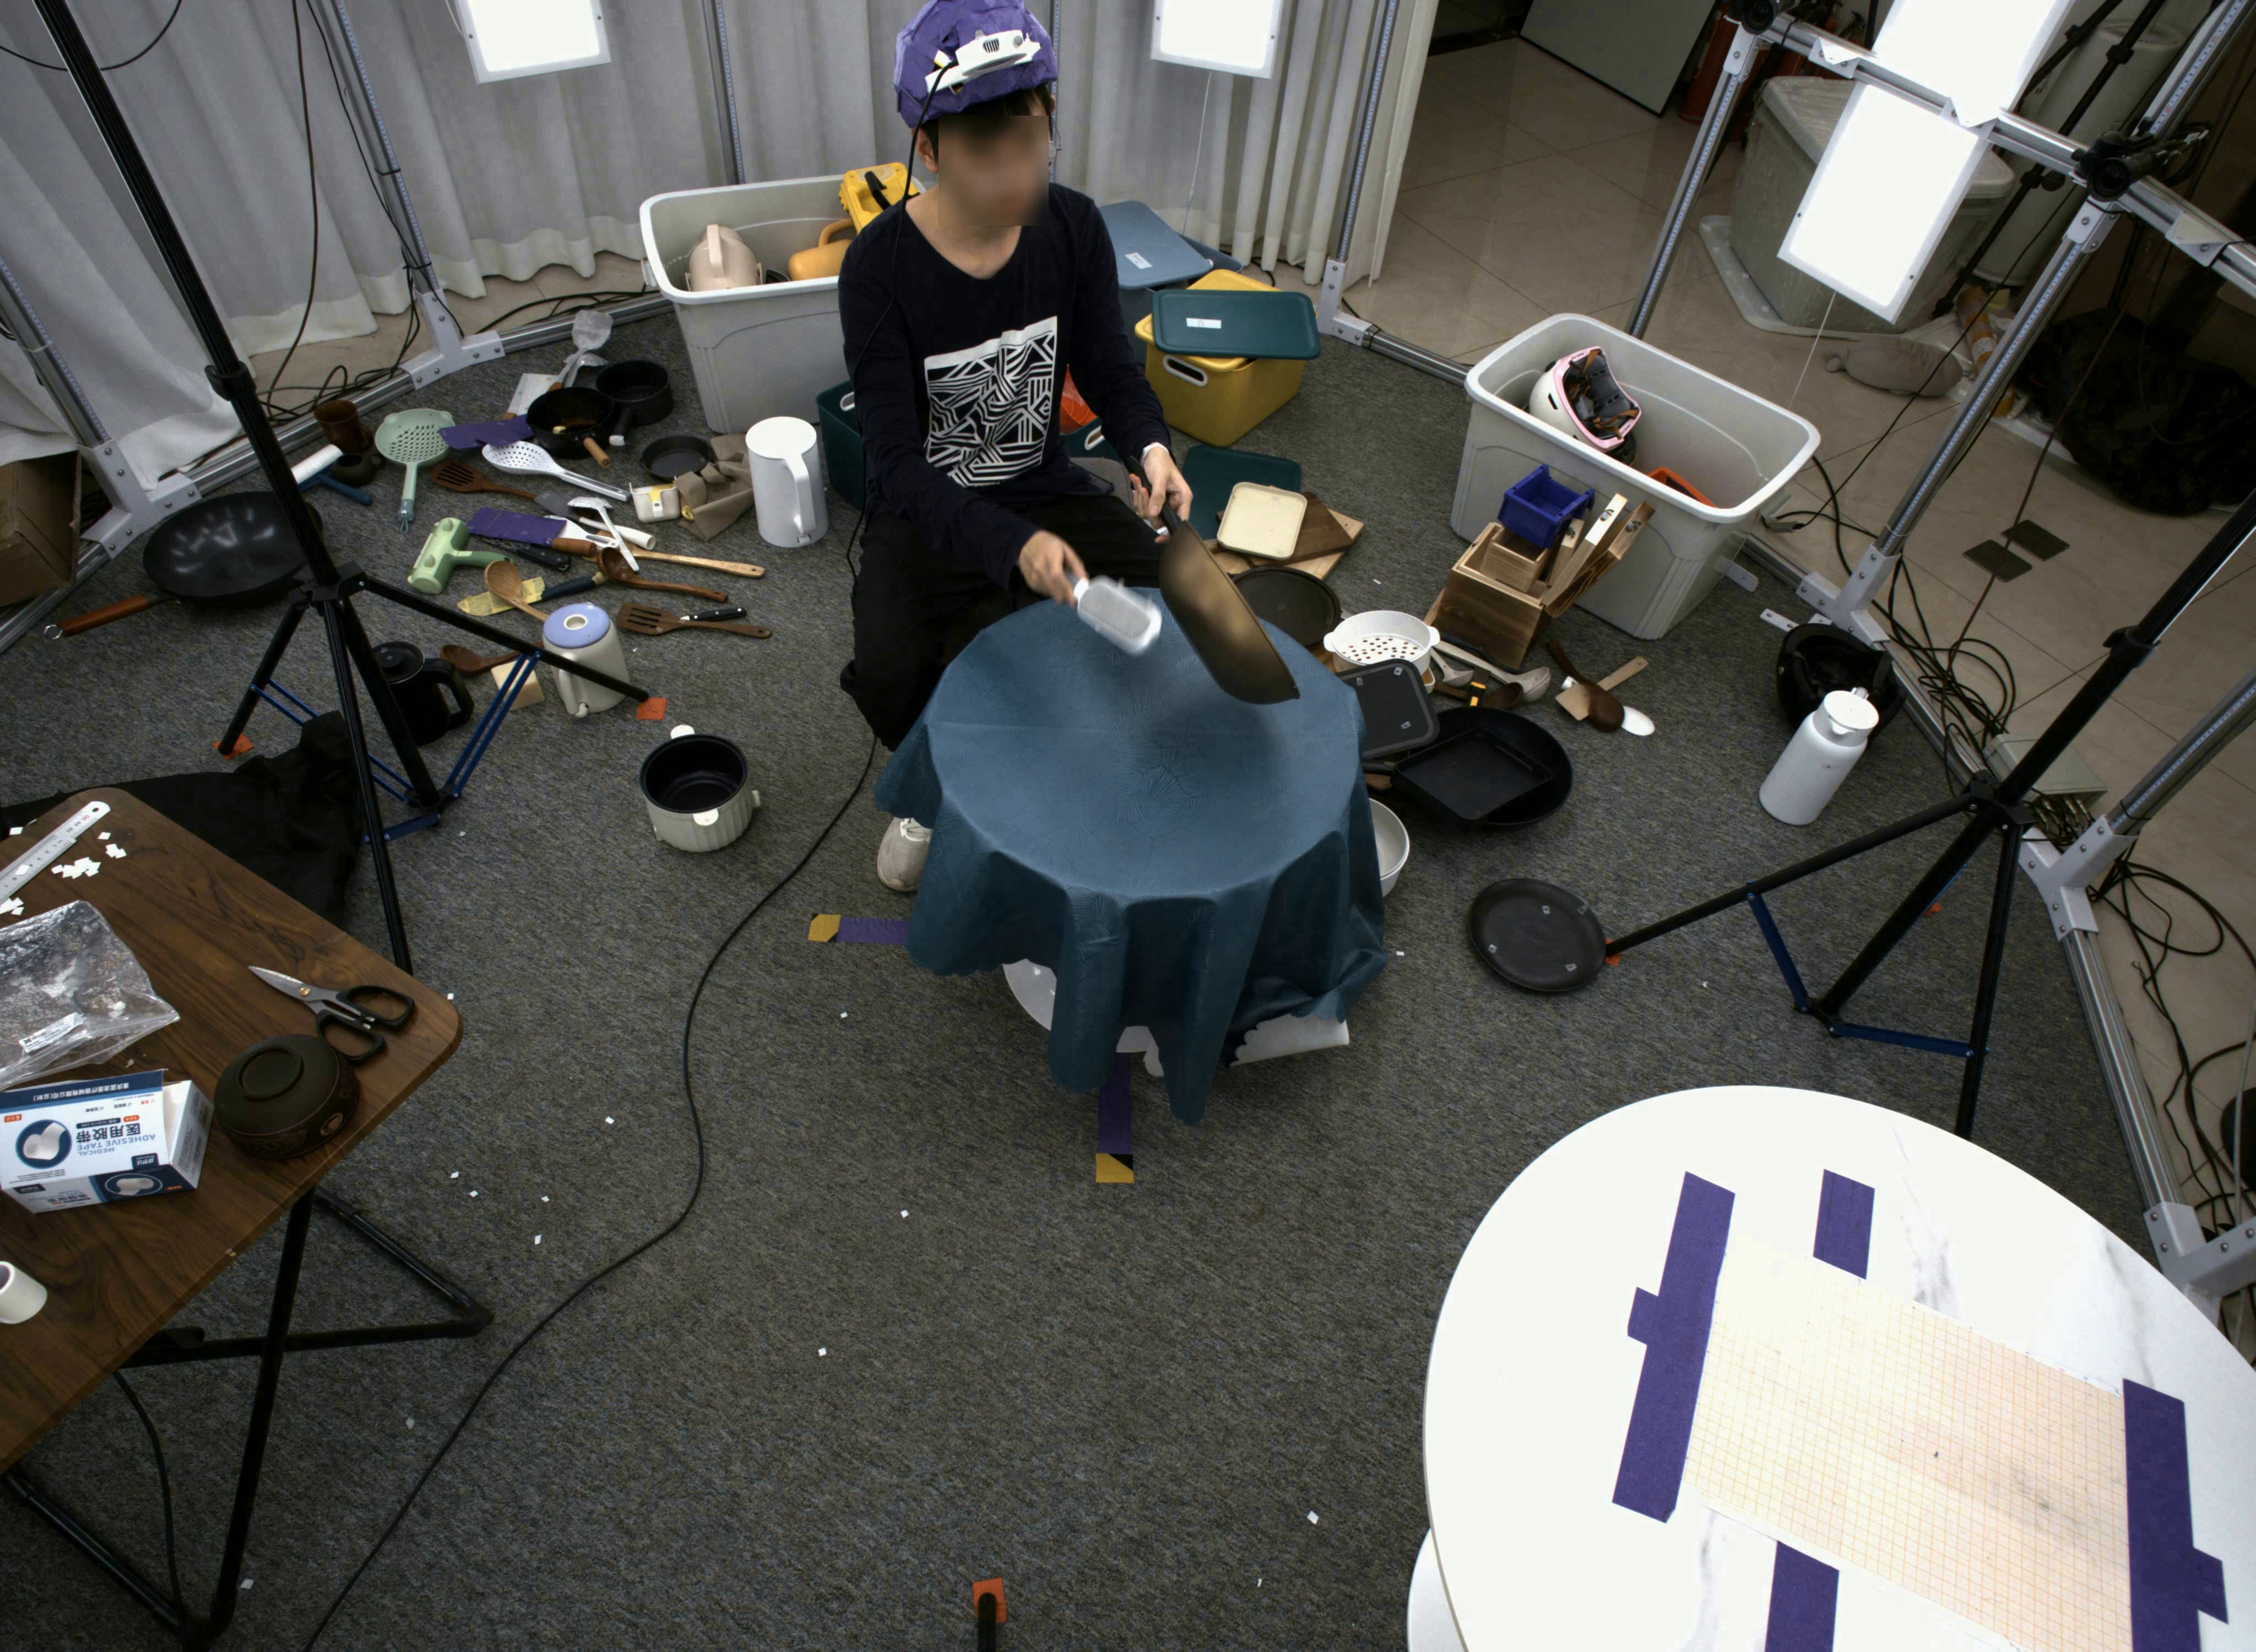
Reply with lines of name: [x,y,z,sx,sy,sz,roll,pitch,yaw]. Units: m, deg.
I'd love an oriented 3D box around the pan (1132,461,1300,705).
pan: [0.078,-0.332,1.733,0.087,0.282,0.473,-32,58,4]

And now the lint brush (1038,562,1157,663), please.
lint brush: [-0.046,-0.288,1.674,0.020,0.060,0.315,27,12,-39]
